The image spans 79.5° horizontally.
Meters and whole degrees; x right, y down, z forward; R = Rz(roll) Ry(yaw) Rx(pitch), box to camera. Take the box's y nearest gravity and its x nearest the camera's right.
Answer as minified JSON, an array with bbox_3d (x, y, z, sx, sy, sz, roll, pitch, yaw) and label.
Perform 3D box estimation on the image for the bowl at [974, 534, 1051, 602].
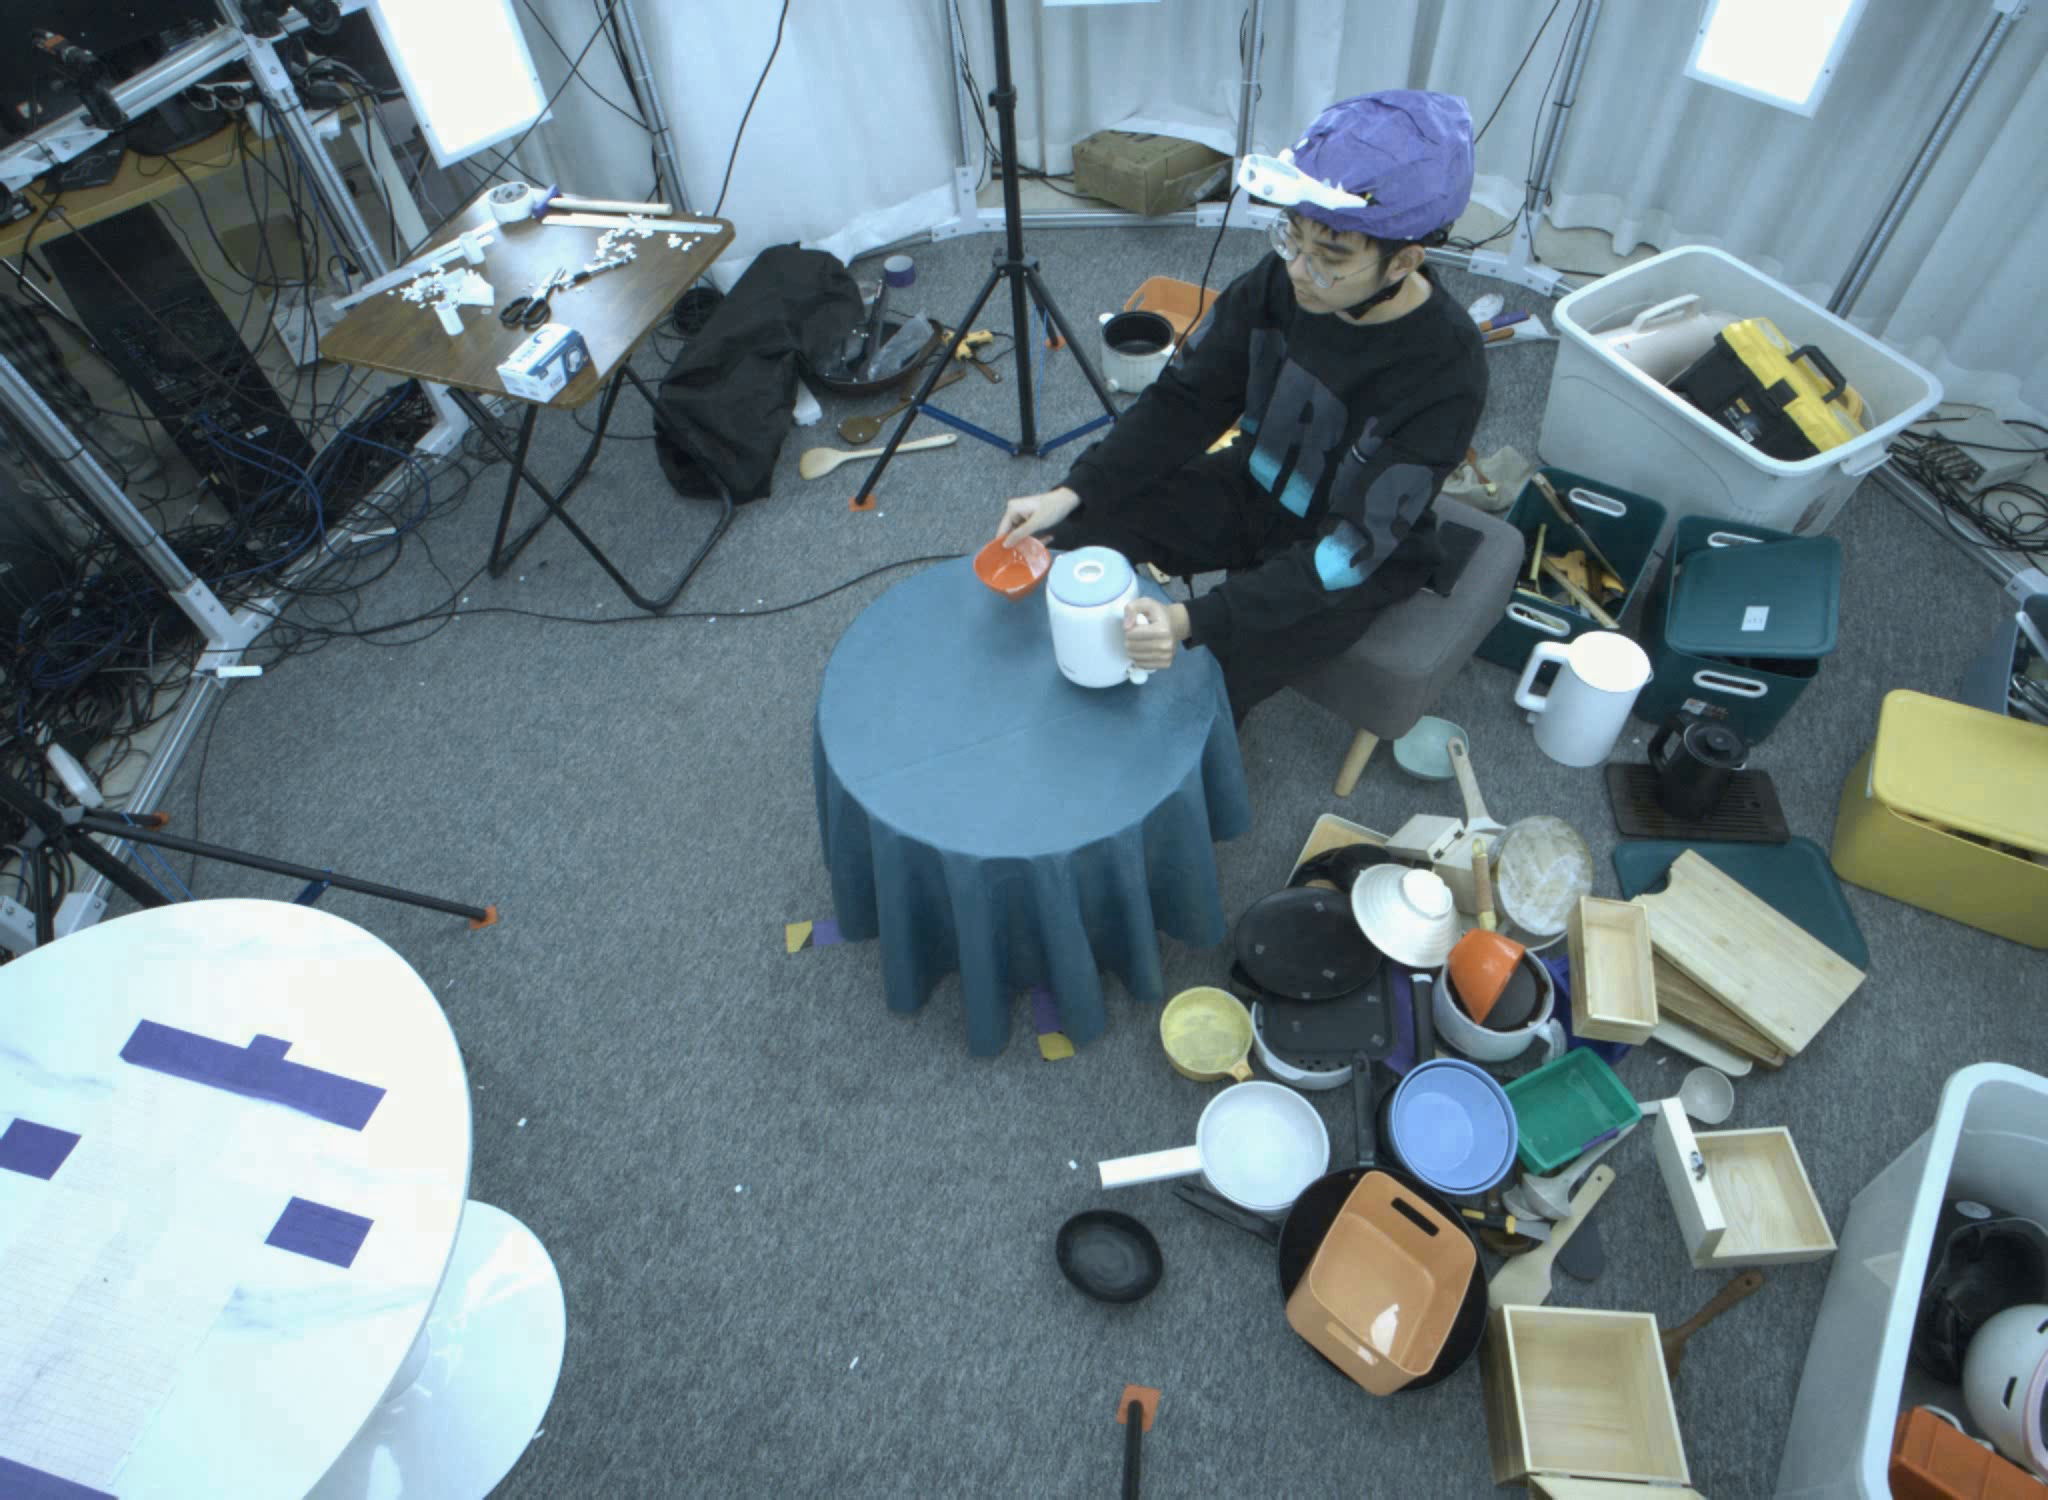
[{"bbox_3d":[-0.015,-0.272,1.880,0.118,0.052,0.118,-4,57,8],"label":"bowl"}]

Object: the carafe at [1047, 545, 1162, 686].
[{"bbox_3d":[0.121,-0.181,1.762,0.187,0.185,0.133,37,66,28],"label":"carafe"}]
